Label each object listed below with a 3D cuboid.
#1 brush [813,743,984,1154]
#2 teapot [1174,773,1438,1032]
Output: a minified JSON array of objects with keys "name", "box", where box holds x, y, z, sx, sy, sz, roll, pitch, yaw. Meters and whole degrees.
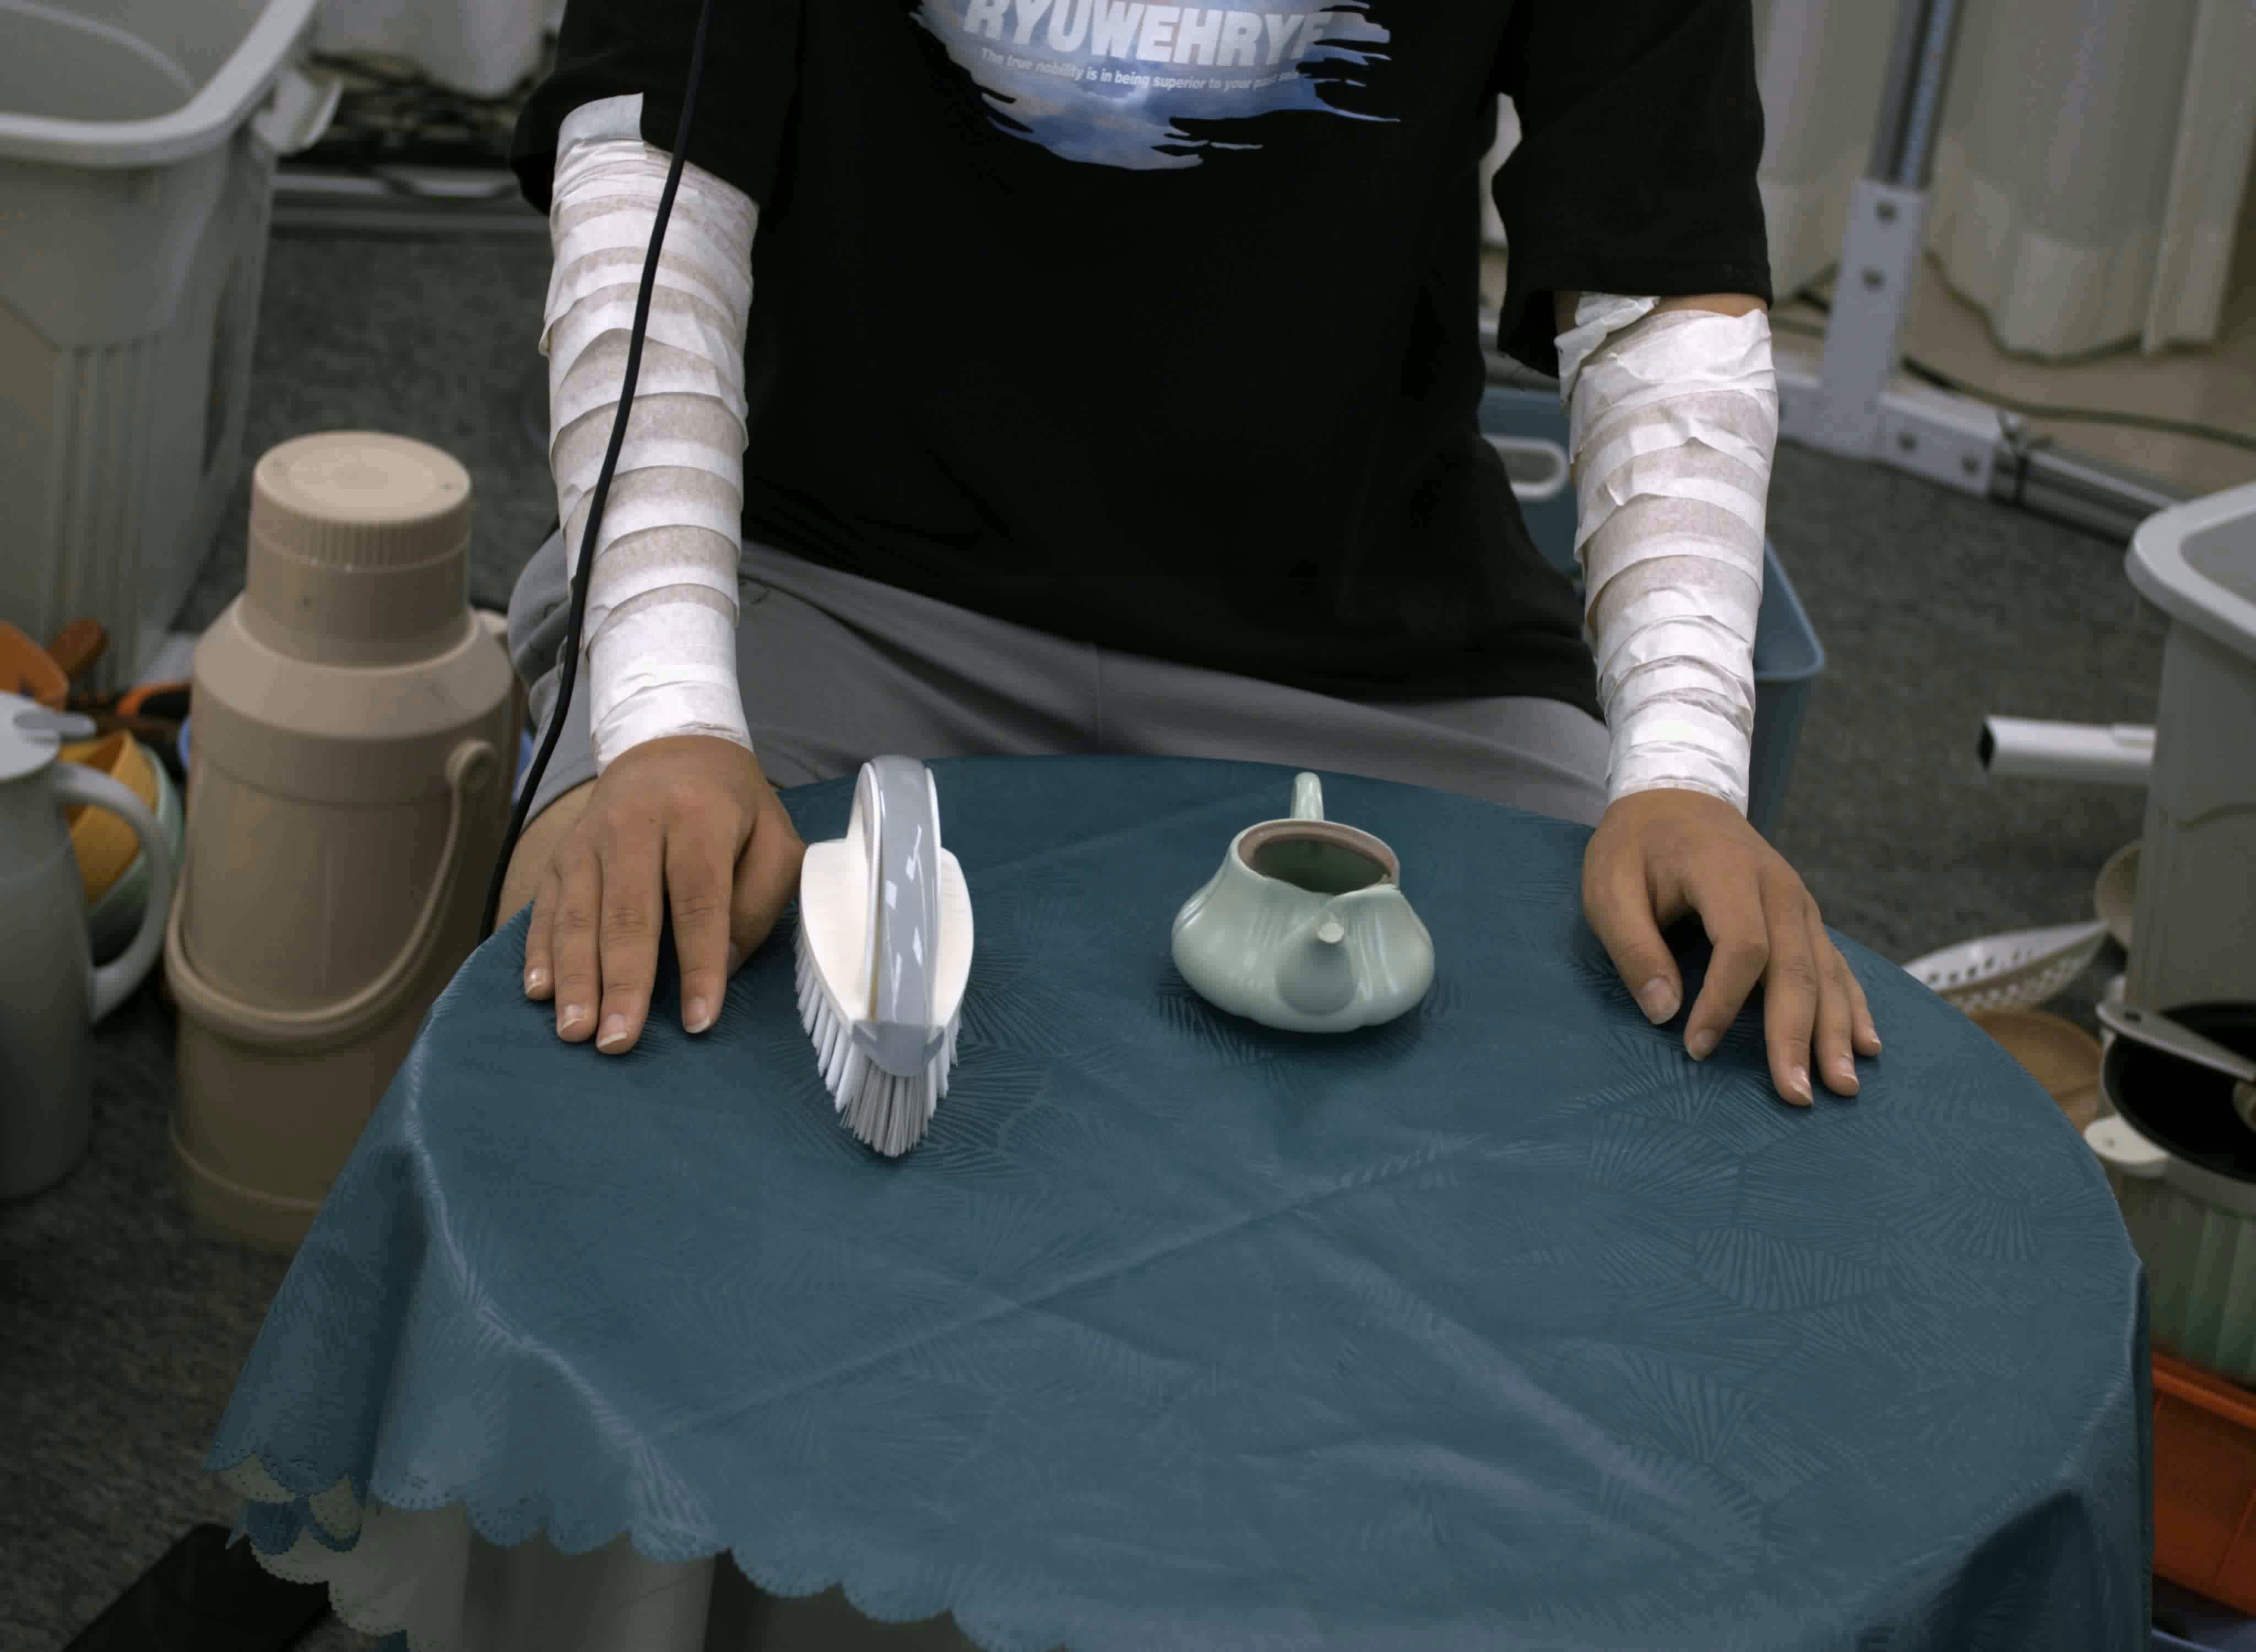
[{"name":"brush","box":[-0.079,0.035,1.862,0.061,0.094,0.177,1,28,-4]},{"name":"teapot","box":[0.065,0.033,1.932,0.096,0.061,0.138,2,27,-5]}]
